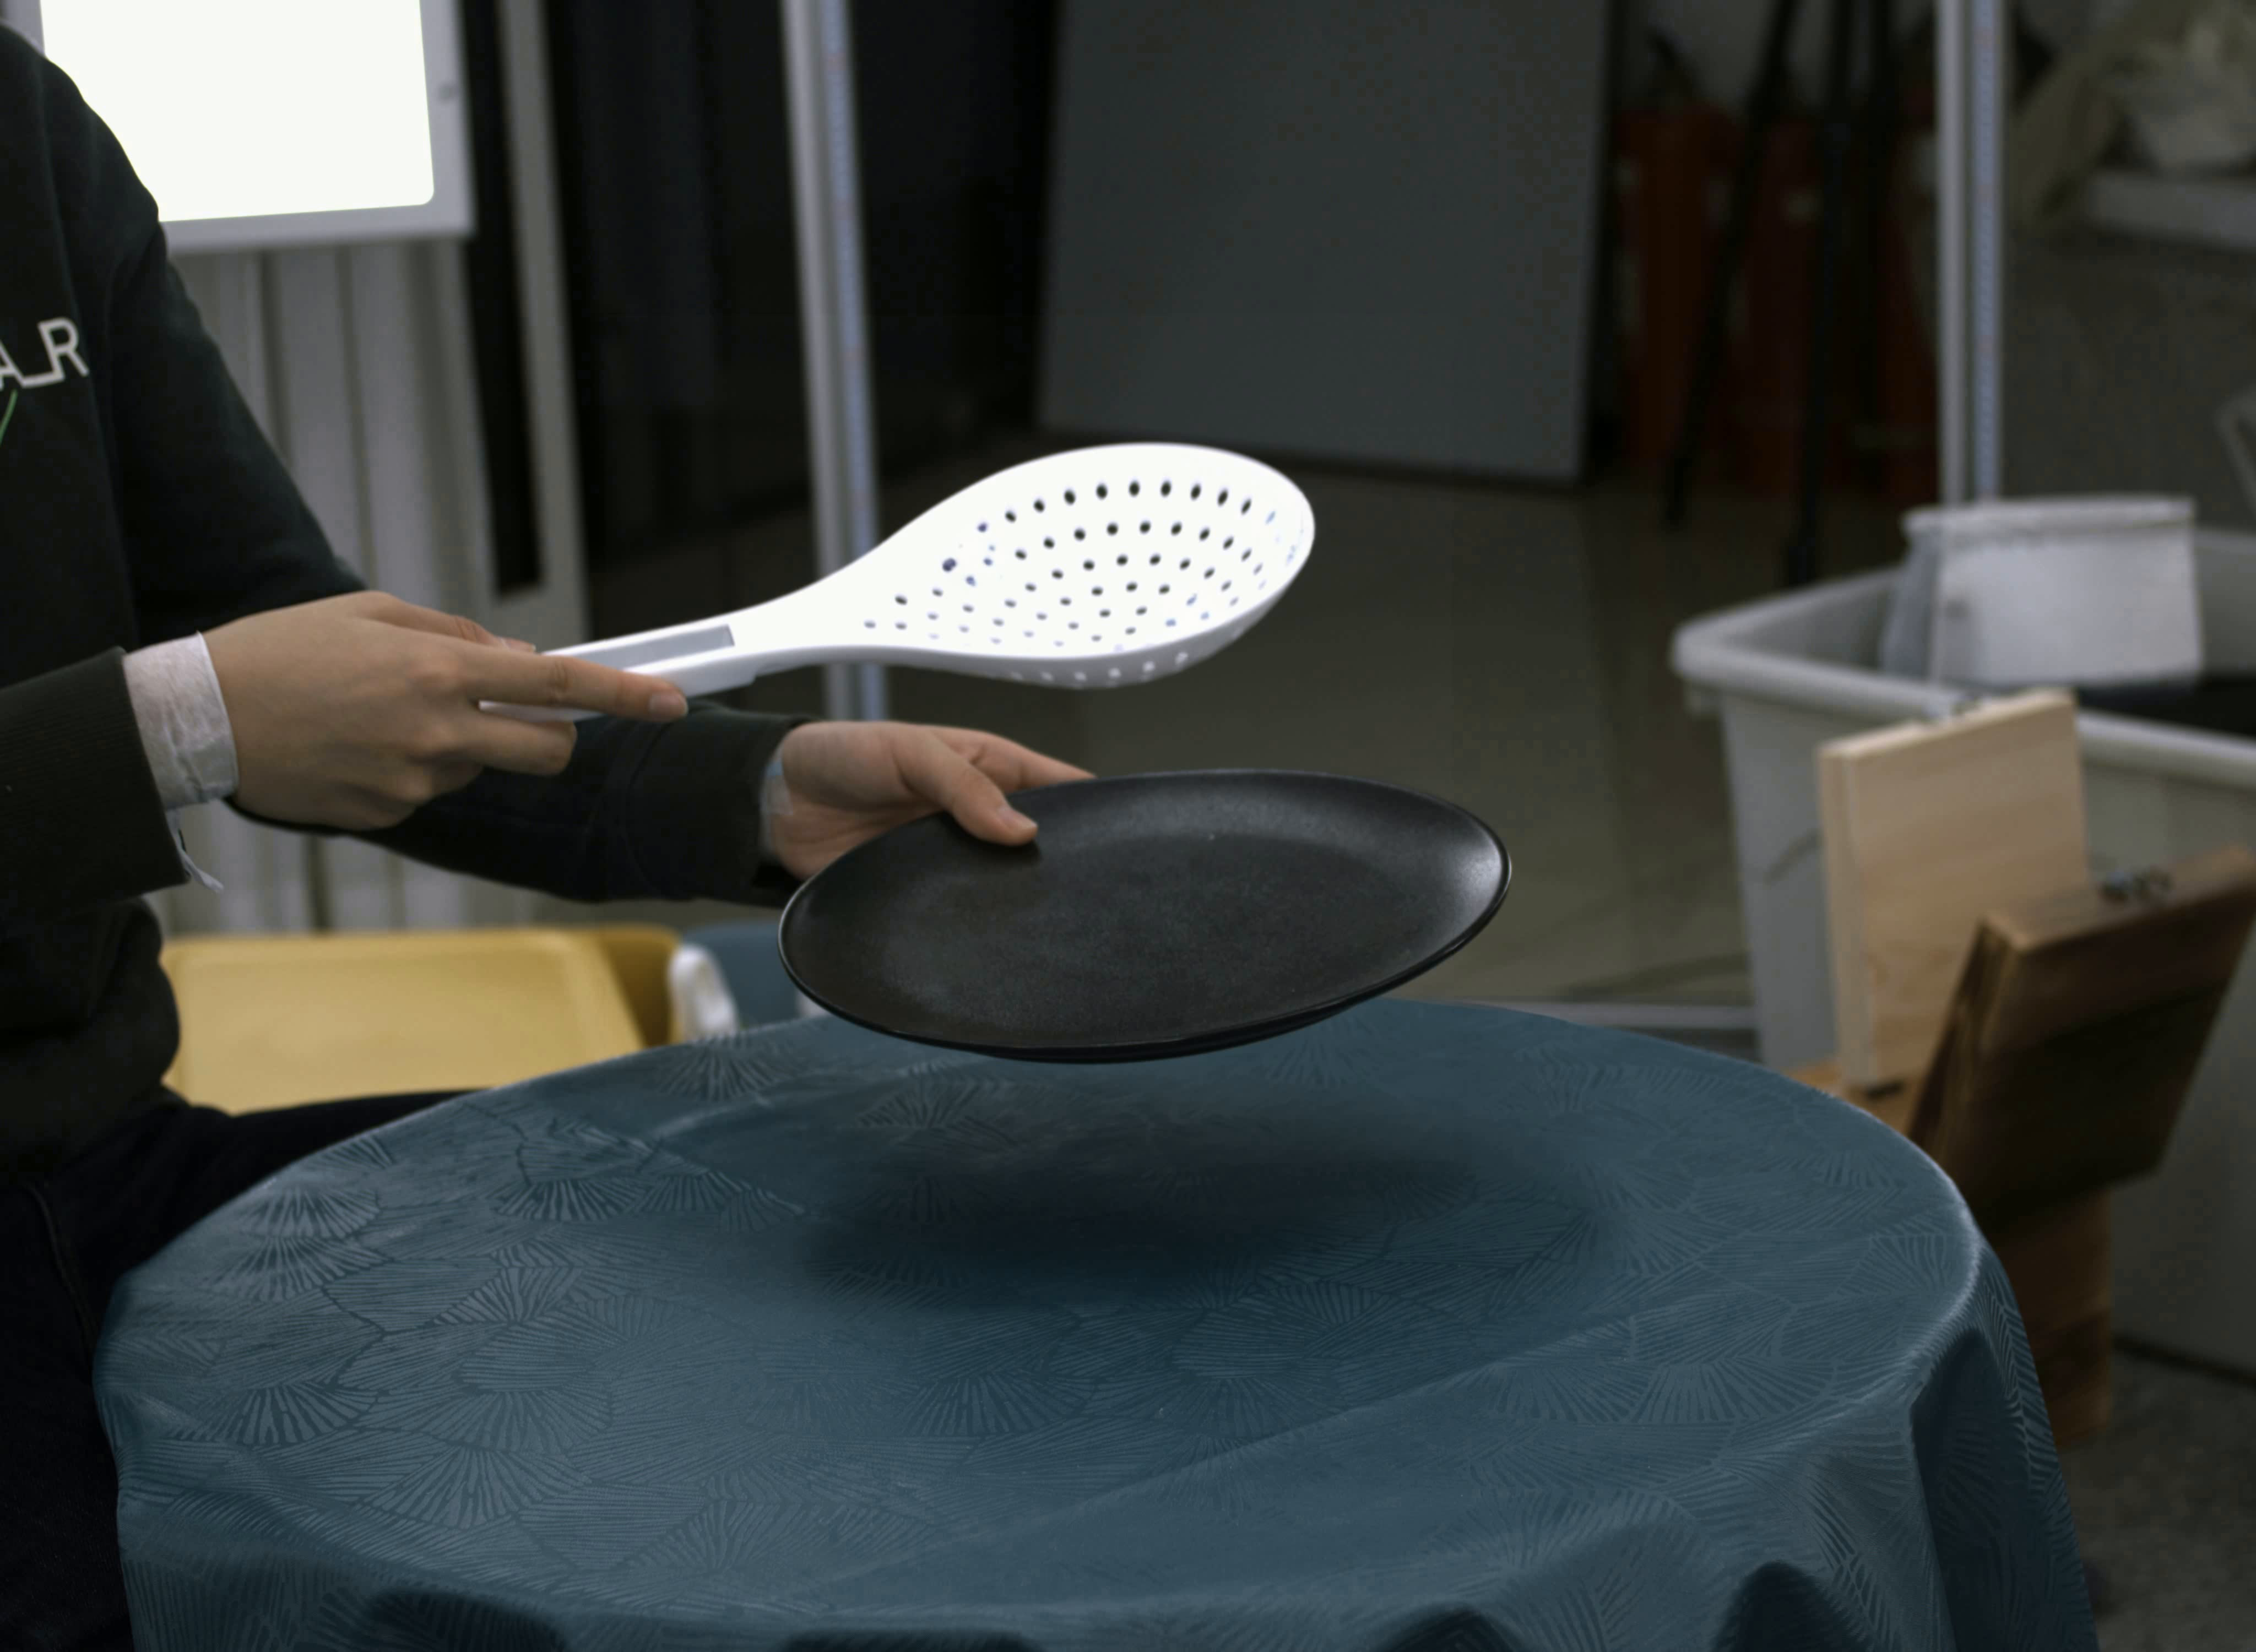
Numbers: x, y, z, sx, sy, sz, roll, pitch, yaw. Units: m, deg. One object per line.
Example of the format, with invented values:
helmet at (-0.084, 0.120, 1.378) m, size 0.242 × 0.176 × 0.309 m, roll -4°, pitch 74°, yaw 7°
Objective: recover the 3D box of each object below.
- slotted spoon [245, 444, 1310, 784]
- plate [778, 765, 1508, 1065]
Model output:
slotted spoon at (-0.110, -0.061, 1.733) m, size 0.344 × 0.046 × 0.137 m, roll -9°, pitch 30°, yaw -9°
plate at (0.006, 0.032, 1.766) m, size 0.241 × 0.023 × 0.245 m, roll -7°, pitch 20°, yaw 1°
